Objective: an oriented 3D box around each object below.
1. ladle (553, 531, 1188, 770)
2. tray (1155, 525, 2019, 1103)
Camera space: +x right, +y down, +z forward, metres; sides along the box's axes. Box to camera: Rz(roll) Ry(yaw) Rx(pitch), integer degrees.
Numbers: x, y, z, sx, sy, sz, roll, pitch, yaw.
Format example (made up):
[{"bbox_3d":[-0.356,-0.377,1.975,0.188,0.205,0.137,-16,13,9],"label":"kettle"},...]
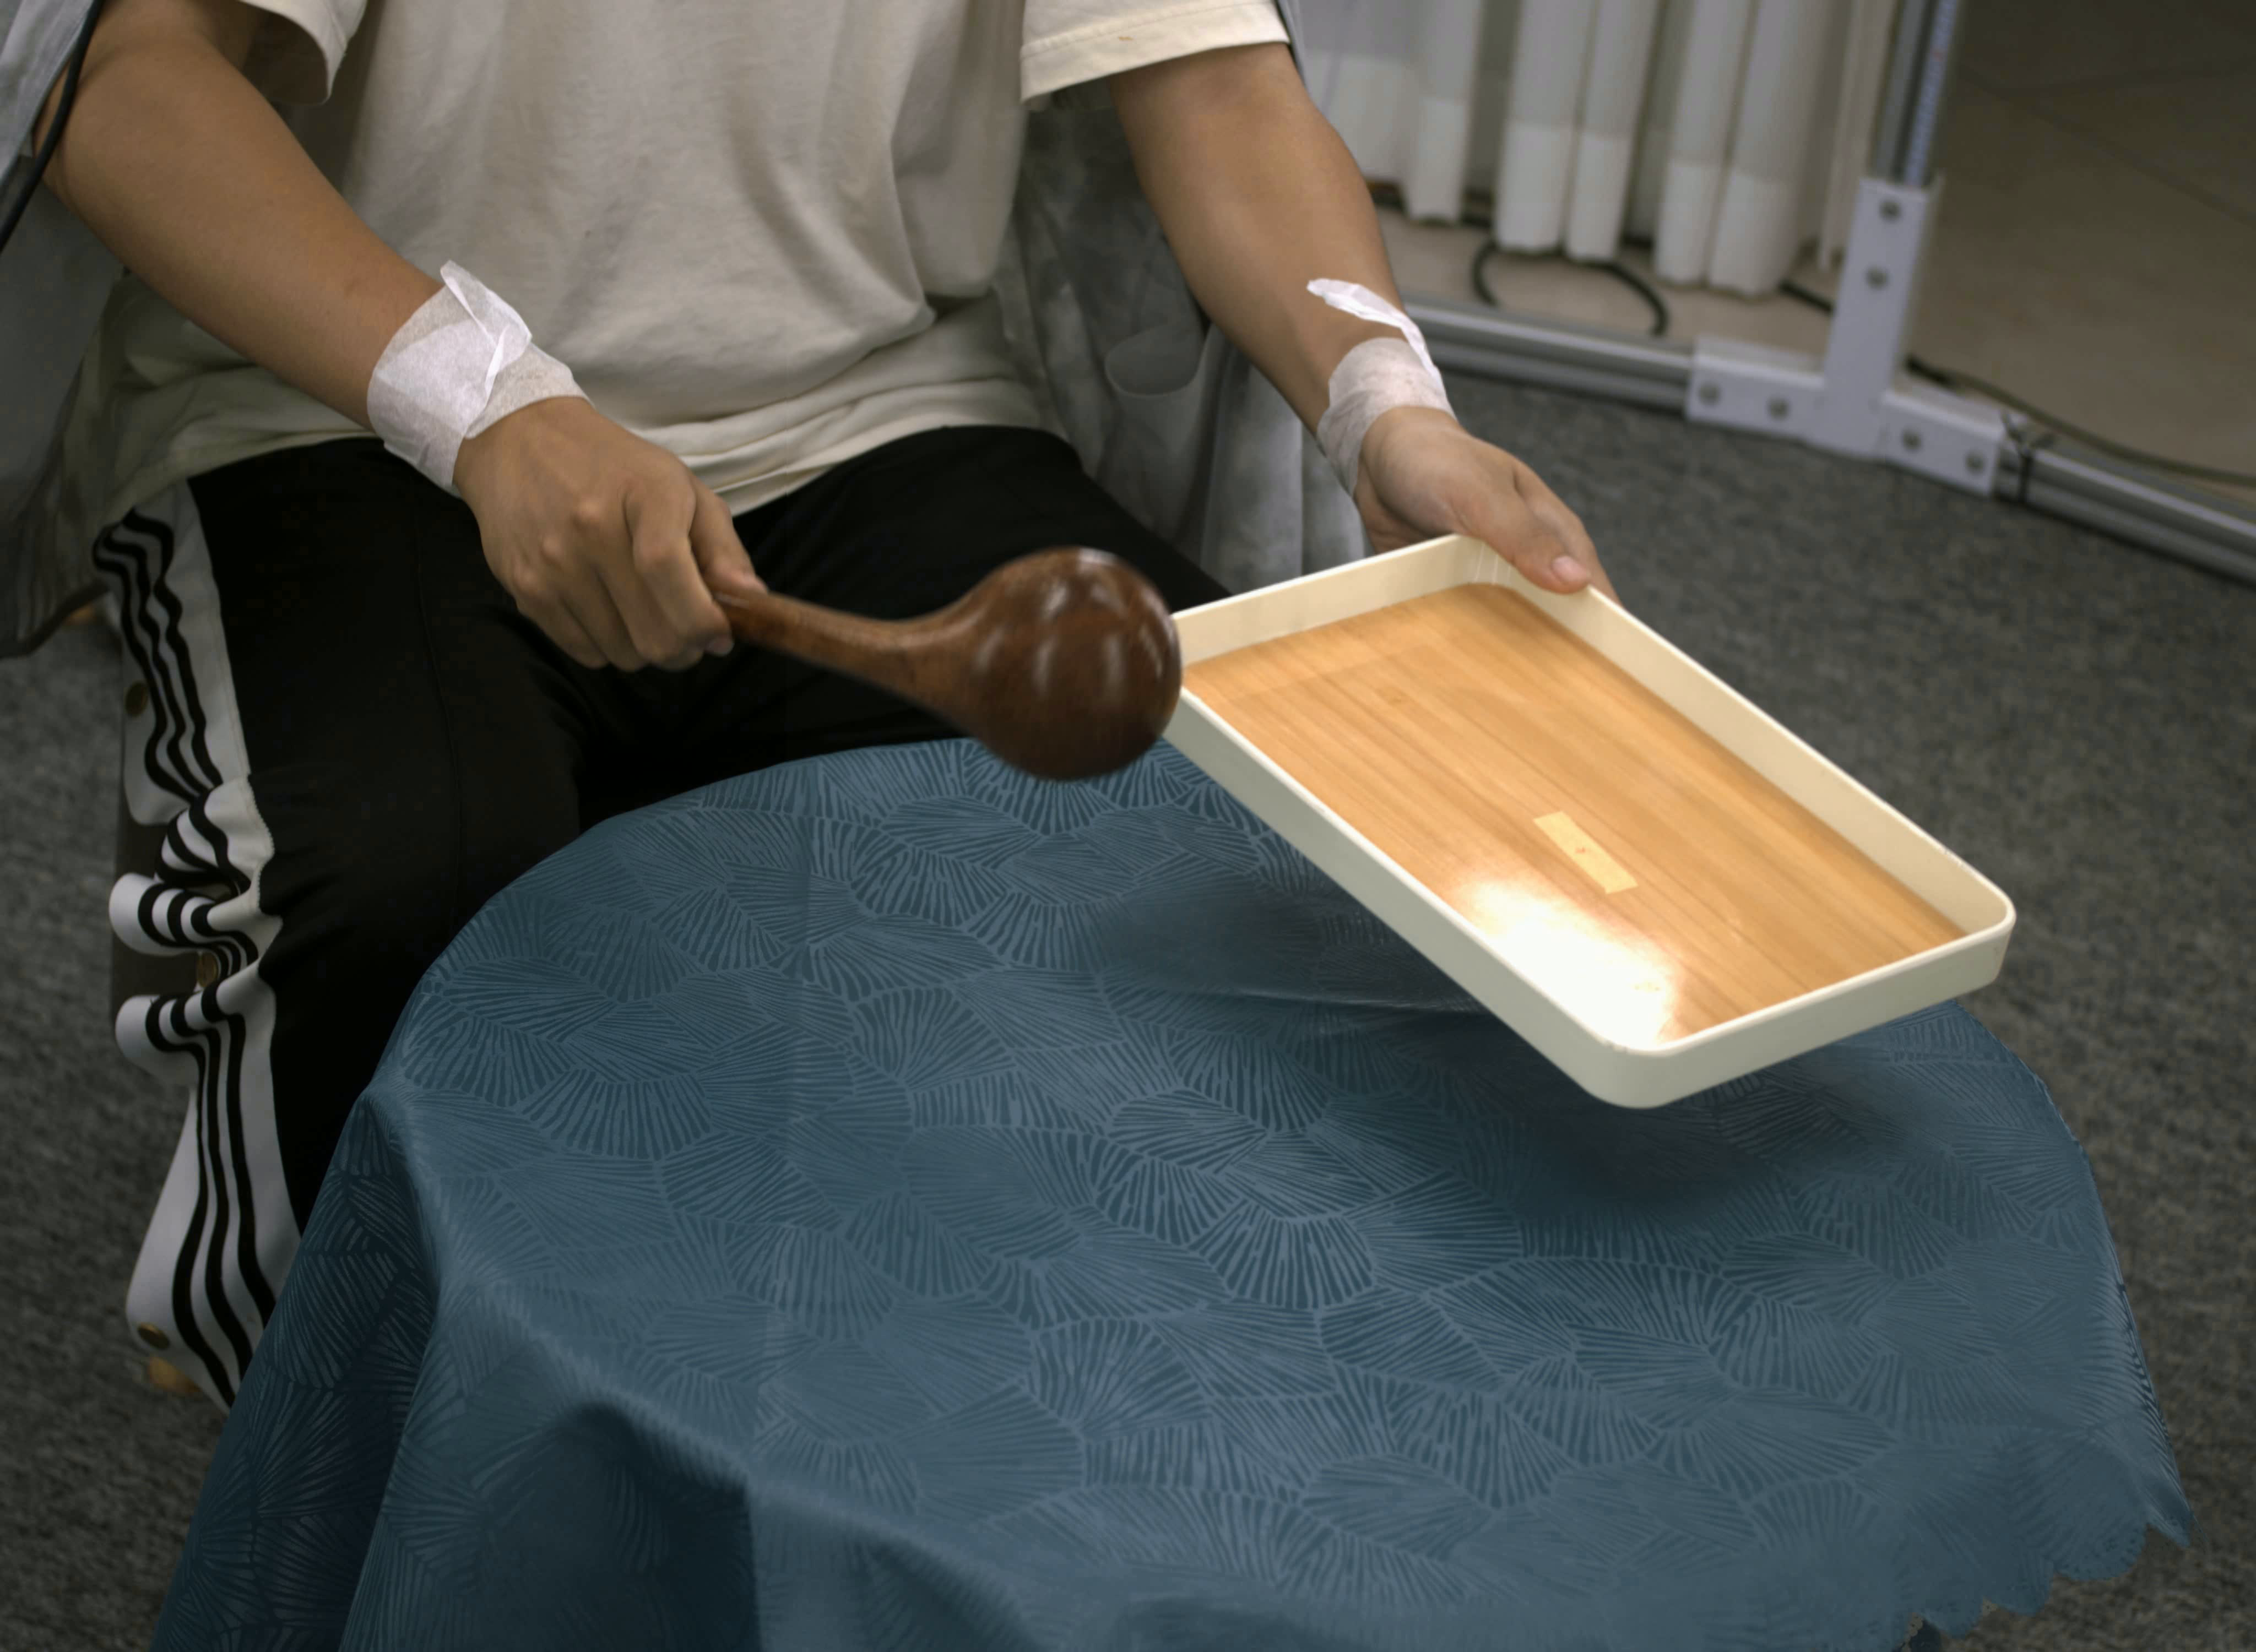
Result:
[{"bbox_3d":[-0.092,-0.075,1.888,0.076,0.082,0.276,-5,12,-43],"label":"ladle"},{"bbox_3d":[0.156,-0.010,1.916,0.190,0.027,0.303,-17,40,-32],"label":"tray"}]
